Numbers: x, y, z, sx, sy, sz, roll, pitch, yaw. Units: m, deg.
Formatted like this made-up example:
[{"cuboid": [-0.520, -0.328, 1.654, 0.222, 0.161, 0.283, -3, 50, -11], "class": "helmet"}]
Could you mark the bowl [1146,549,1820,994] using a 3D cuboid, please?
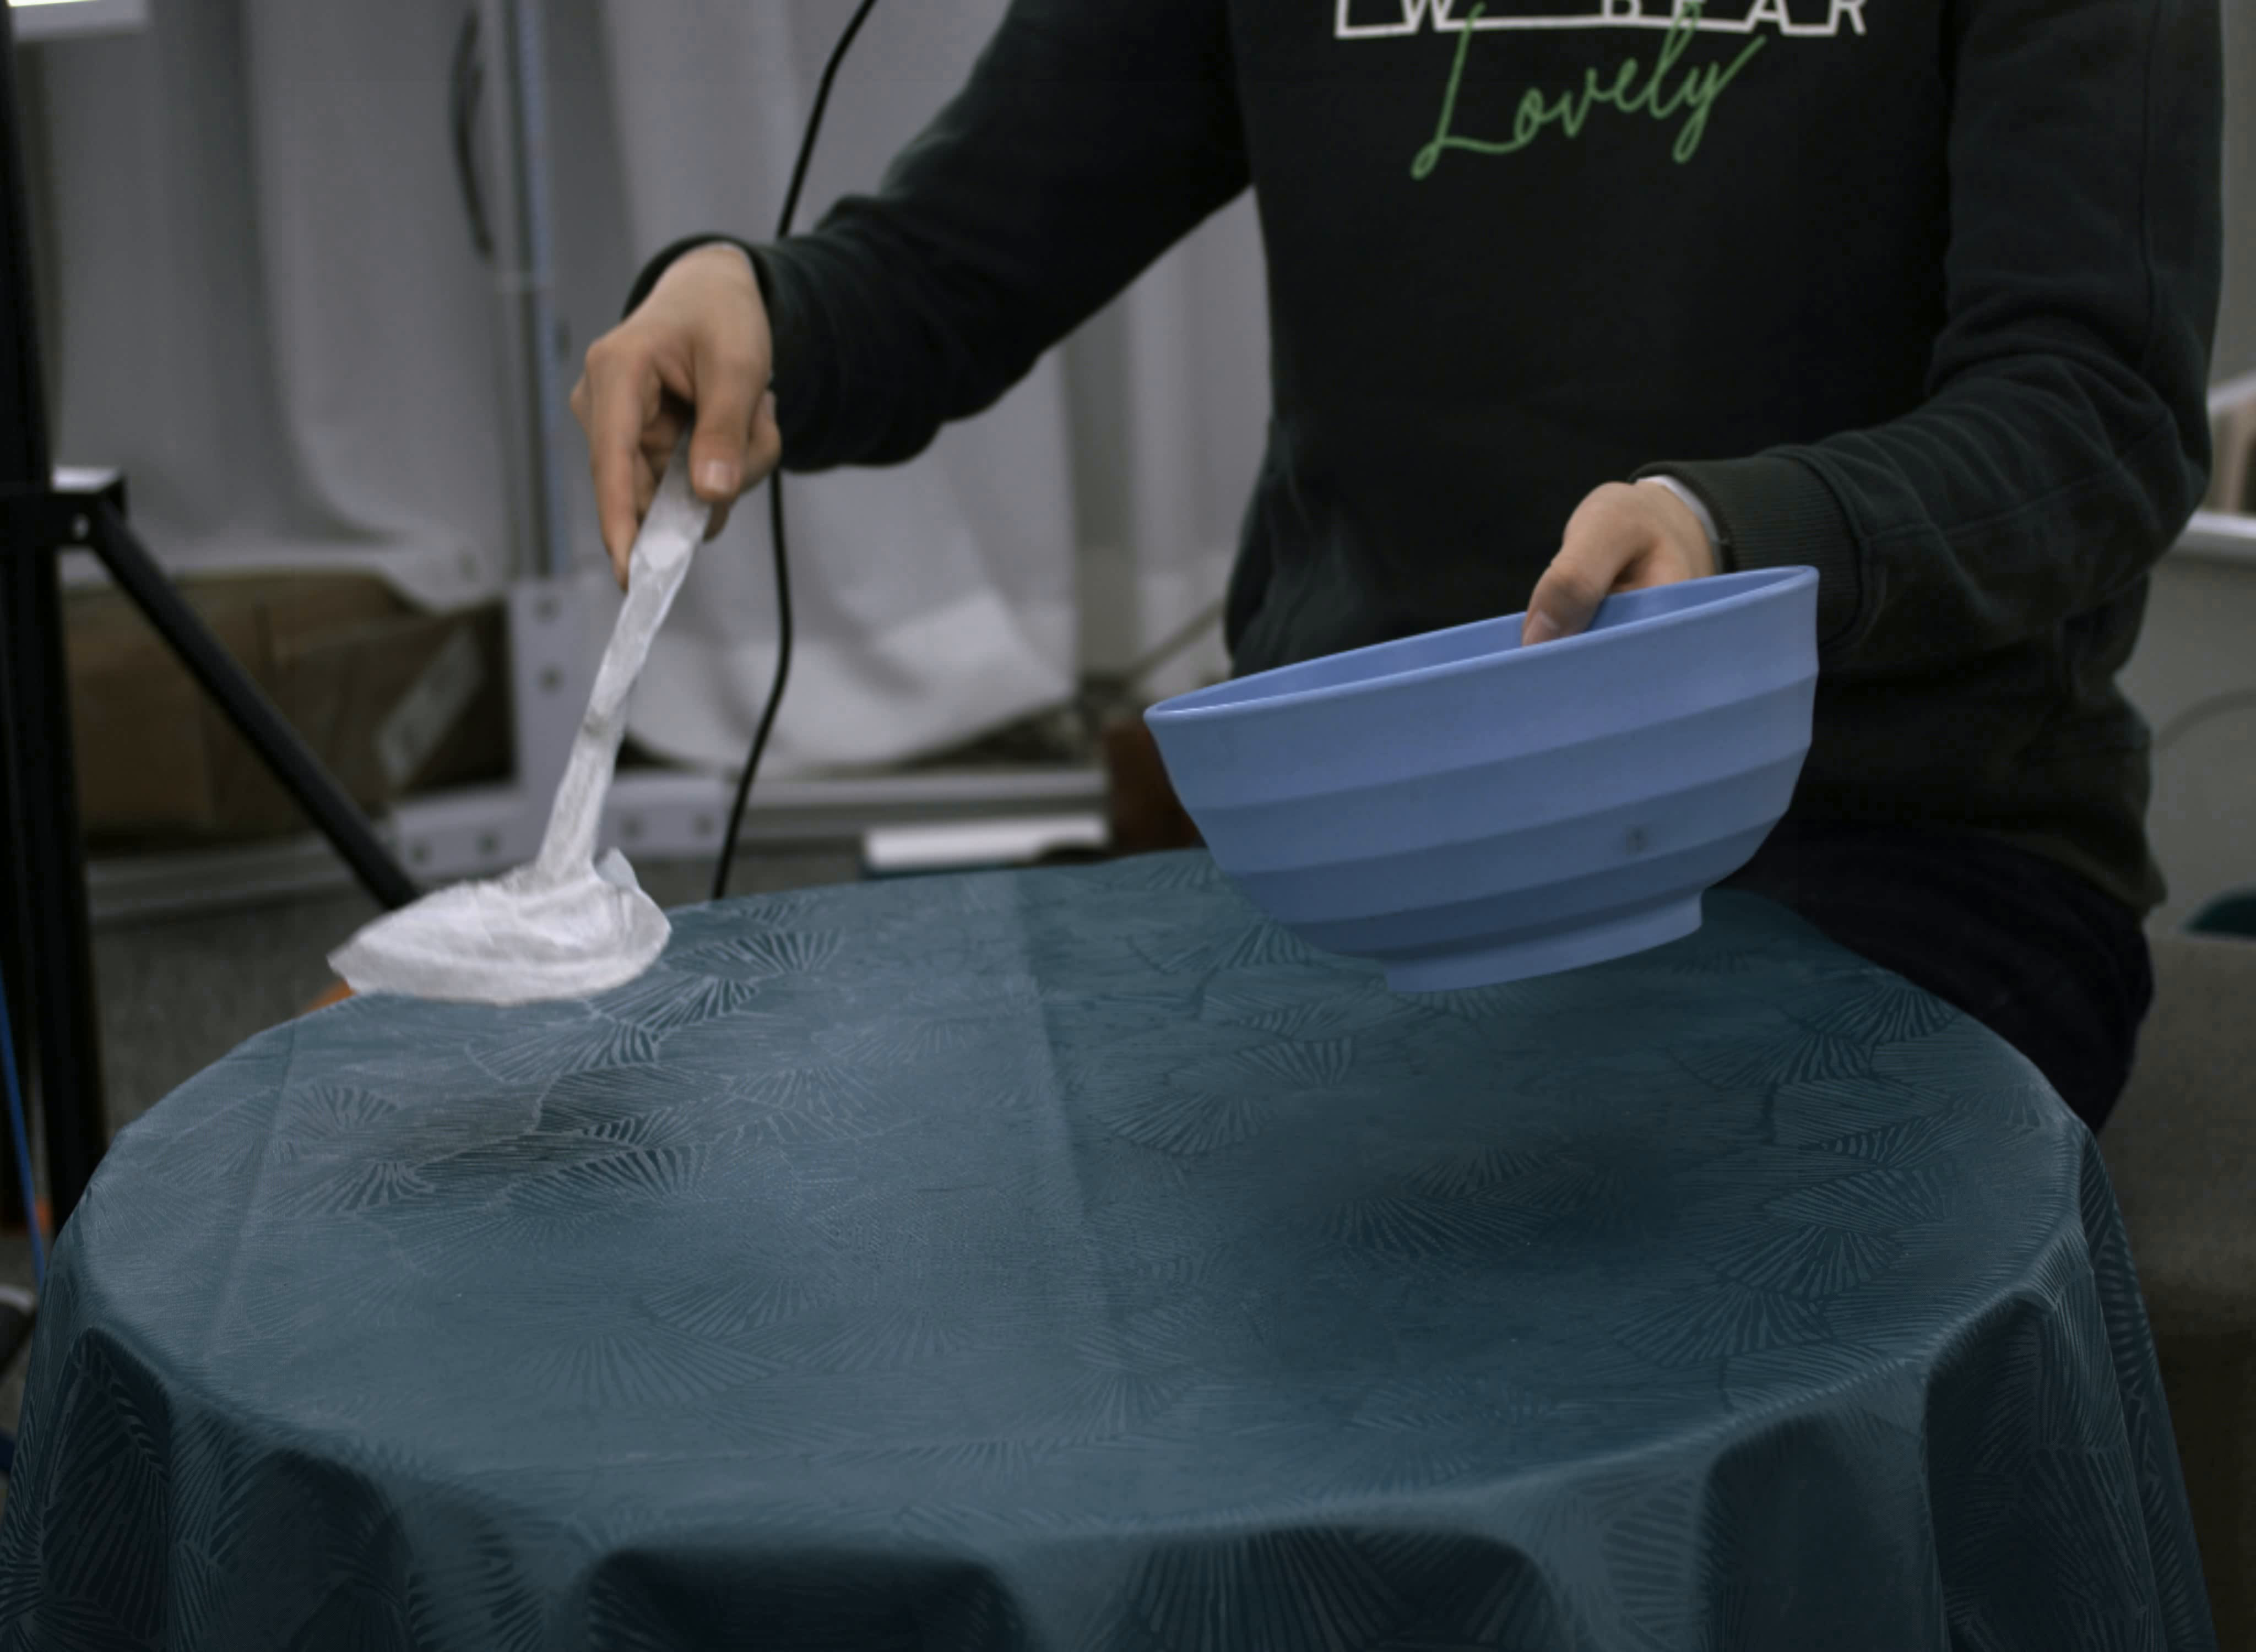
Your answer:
[{"cuboid": [0.111, -0.009, 1.511, 0.195, 0.096, 0.197, -14, 4, -1], "class": "bowl"}]

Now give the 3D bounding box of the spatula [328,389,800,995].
[{"cuboid": [-0.162, -0.053, 1.728, 0.099, 0.044, 0.366, 1, 40, 13], "class": "spatula"}]
